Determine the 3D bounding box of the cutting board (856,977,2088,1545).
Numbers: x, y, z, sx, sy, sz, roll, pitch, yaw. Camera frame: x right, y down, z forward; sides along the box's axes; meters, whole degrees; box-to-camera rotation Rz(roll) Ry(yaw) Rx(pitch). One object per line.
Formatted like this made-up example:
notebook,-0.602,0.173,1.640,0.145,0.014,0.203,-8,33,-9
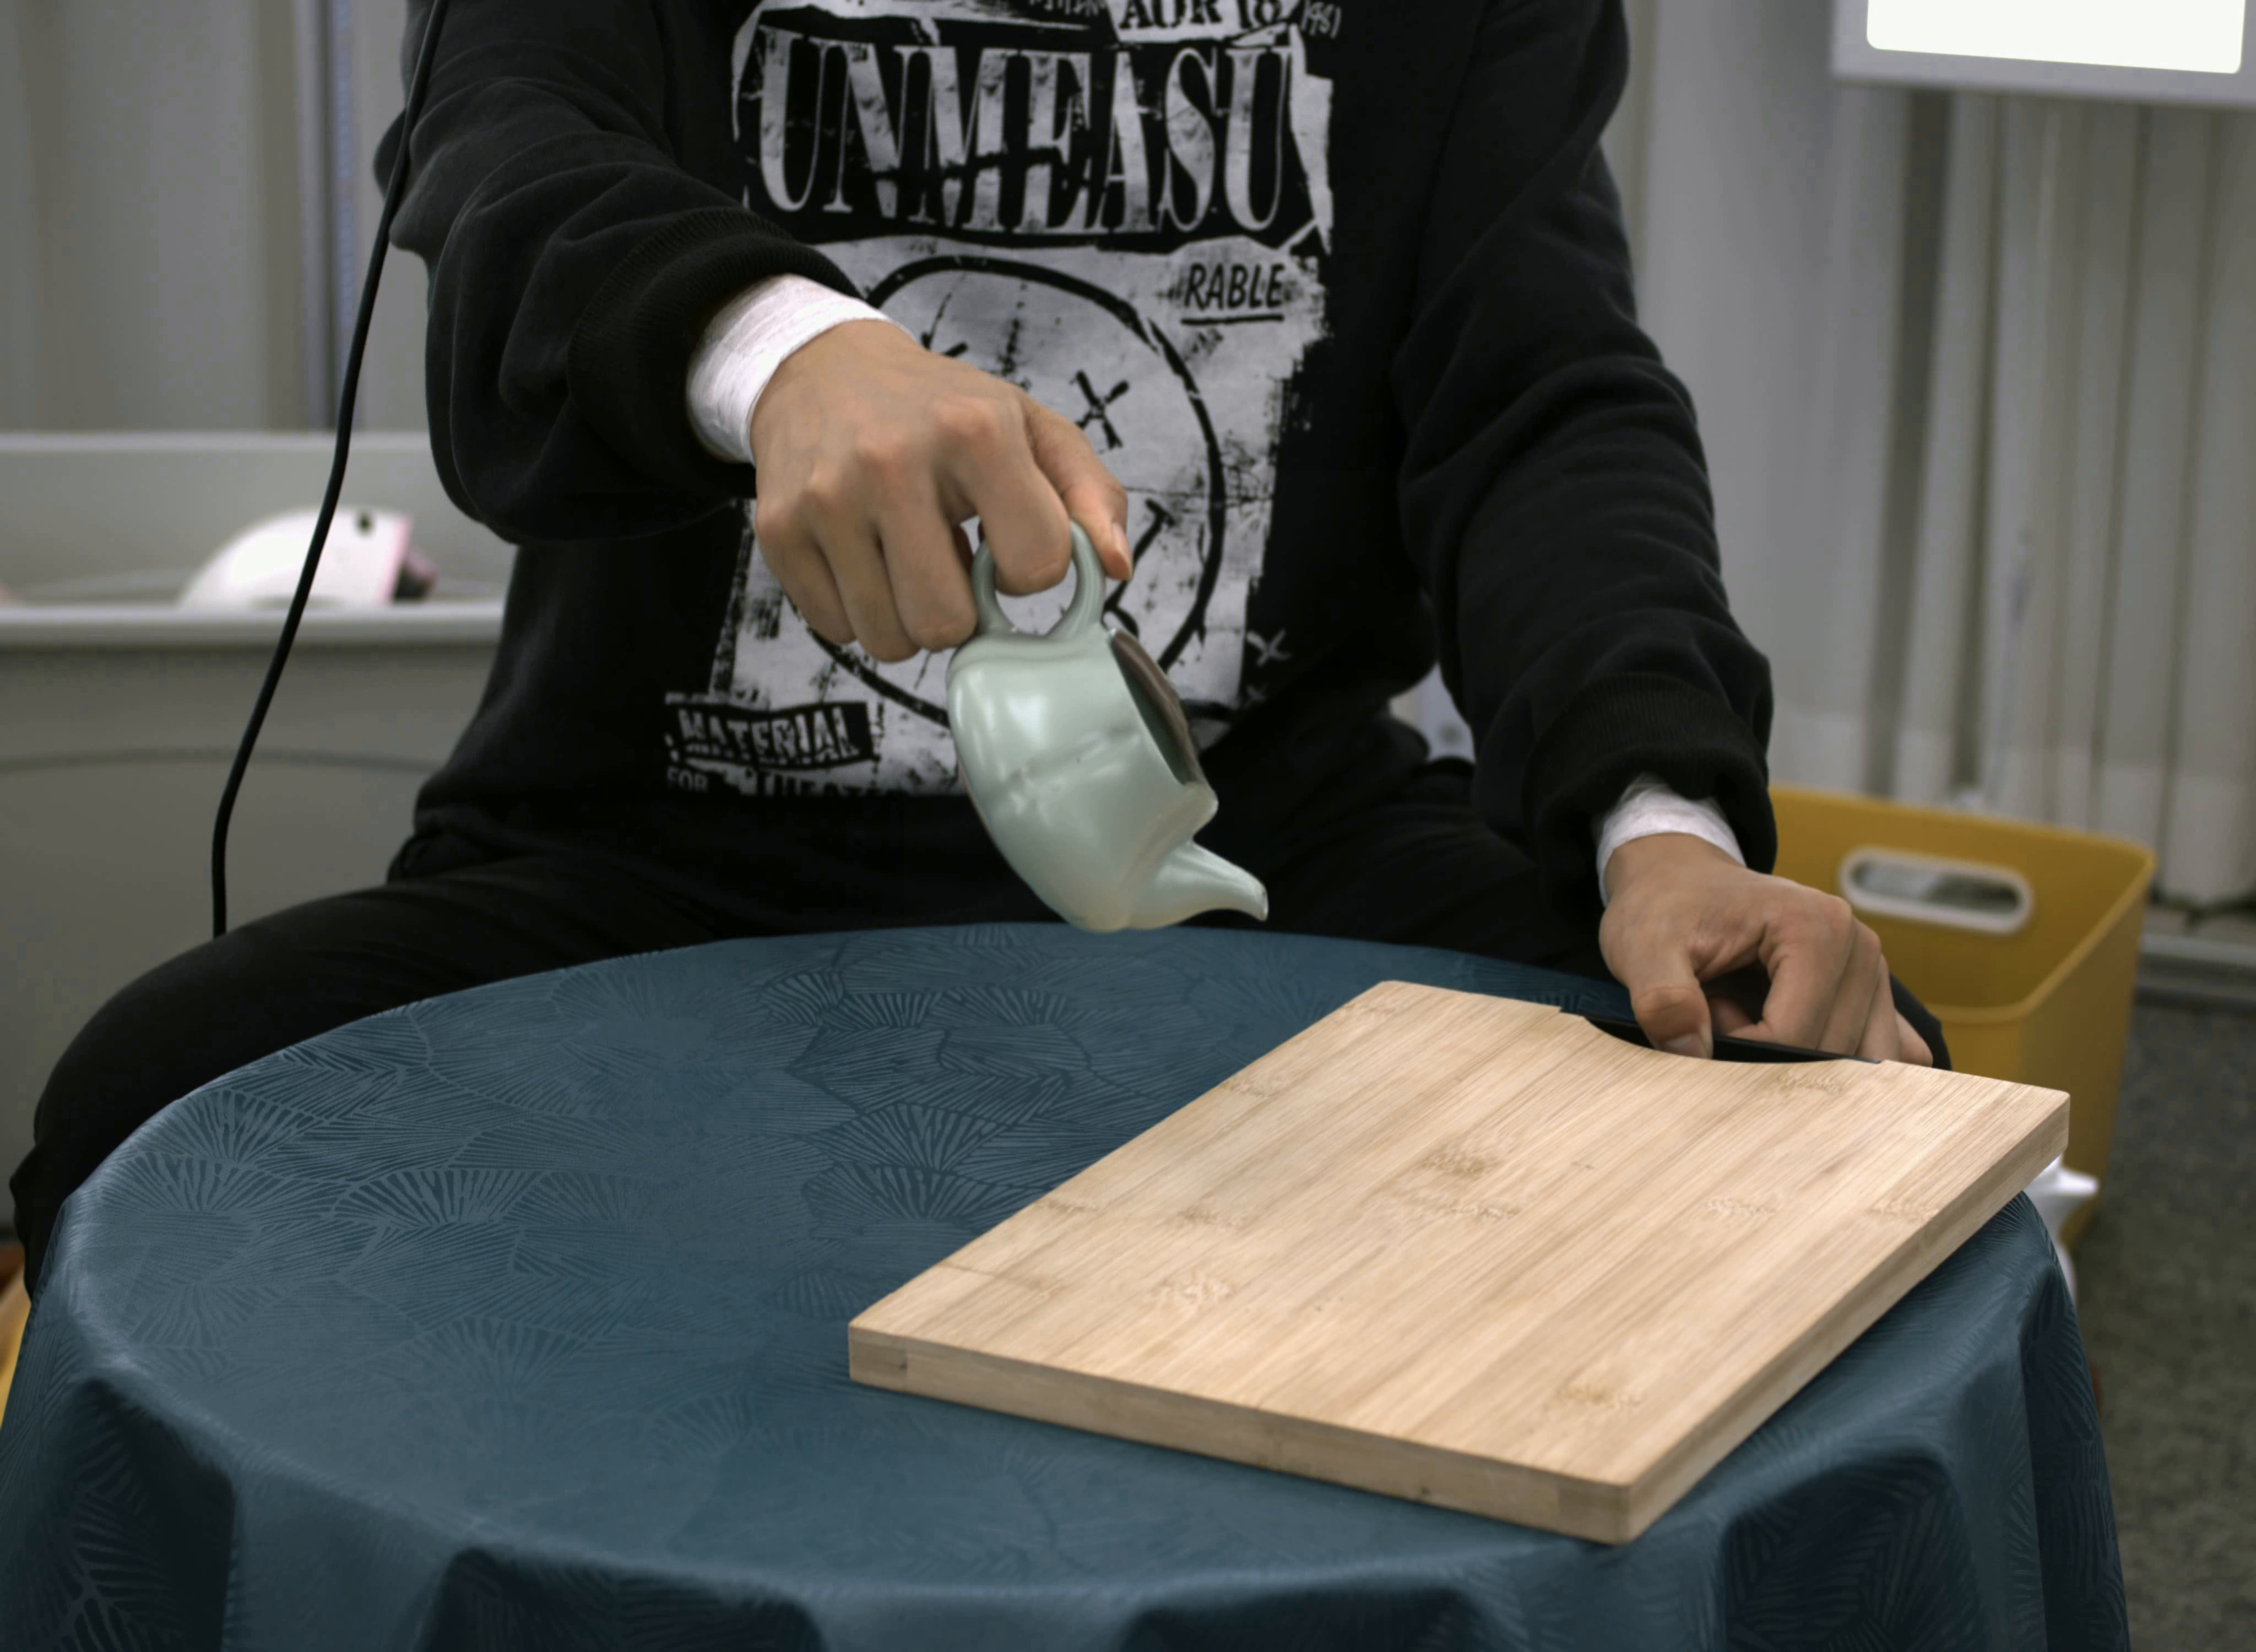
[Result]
cutting board,0.110,0.118,1.558,0.248,0.024,0.349,9,19,26

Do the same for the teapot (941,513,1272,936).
teapot,-0.014,-0.023,1.518,0.061,0.137,0.096,-27,3,14
